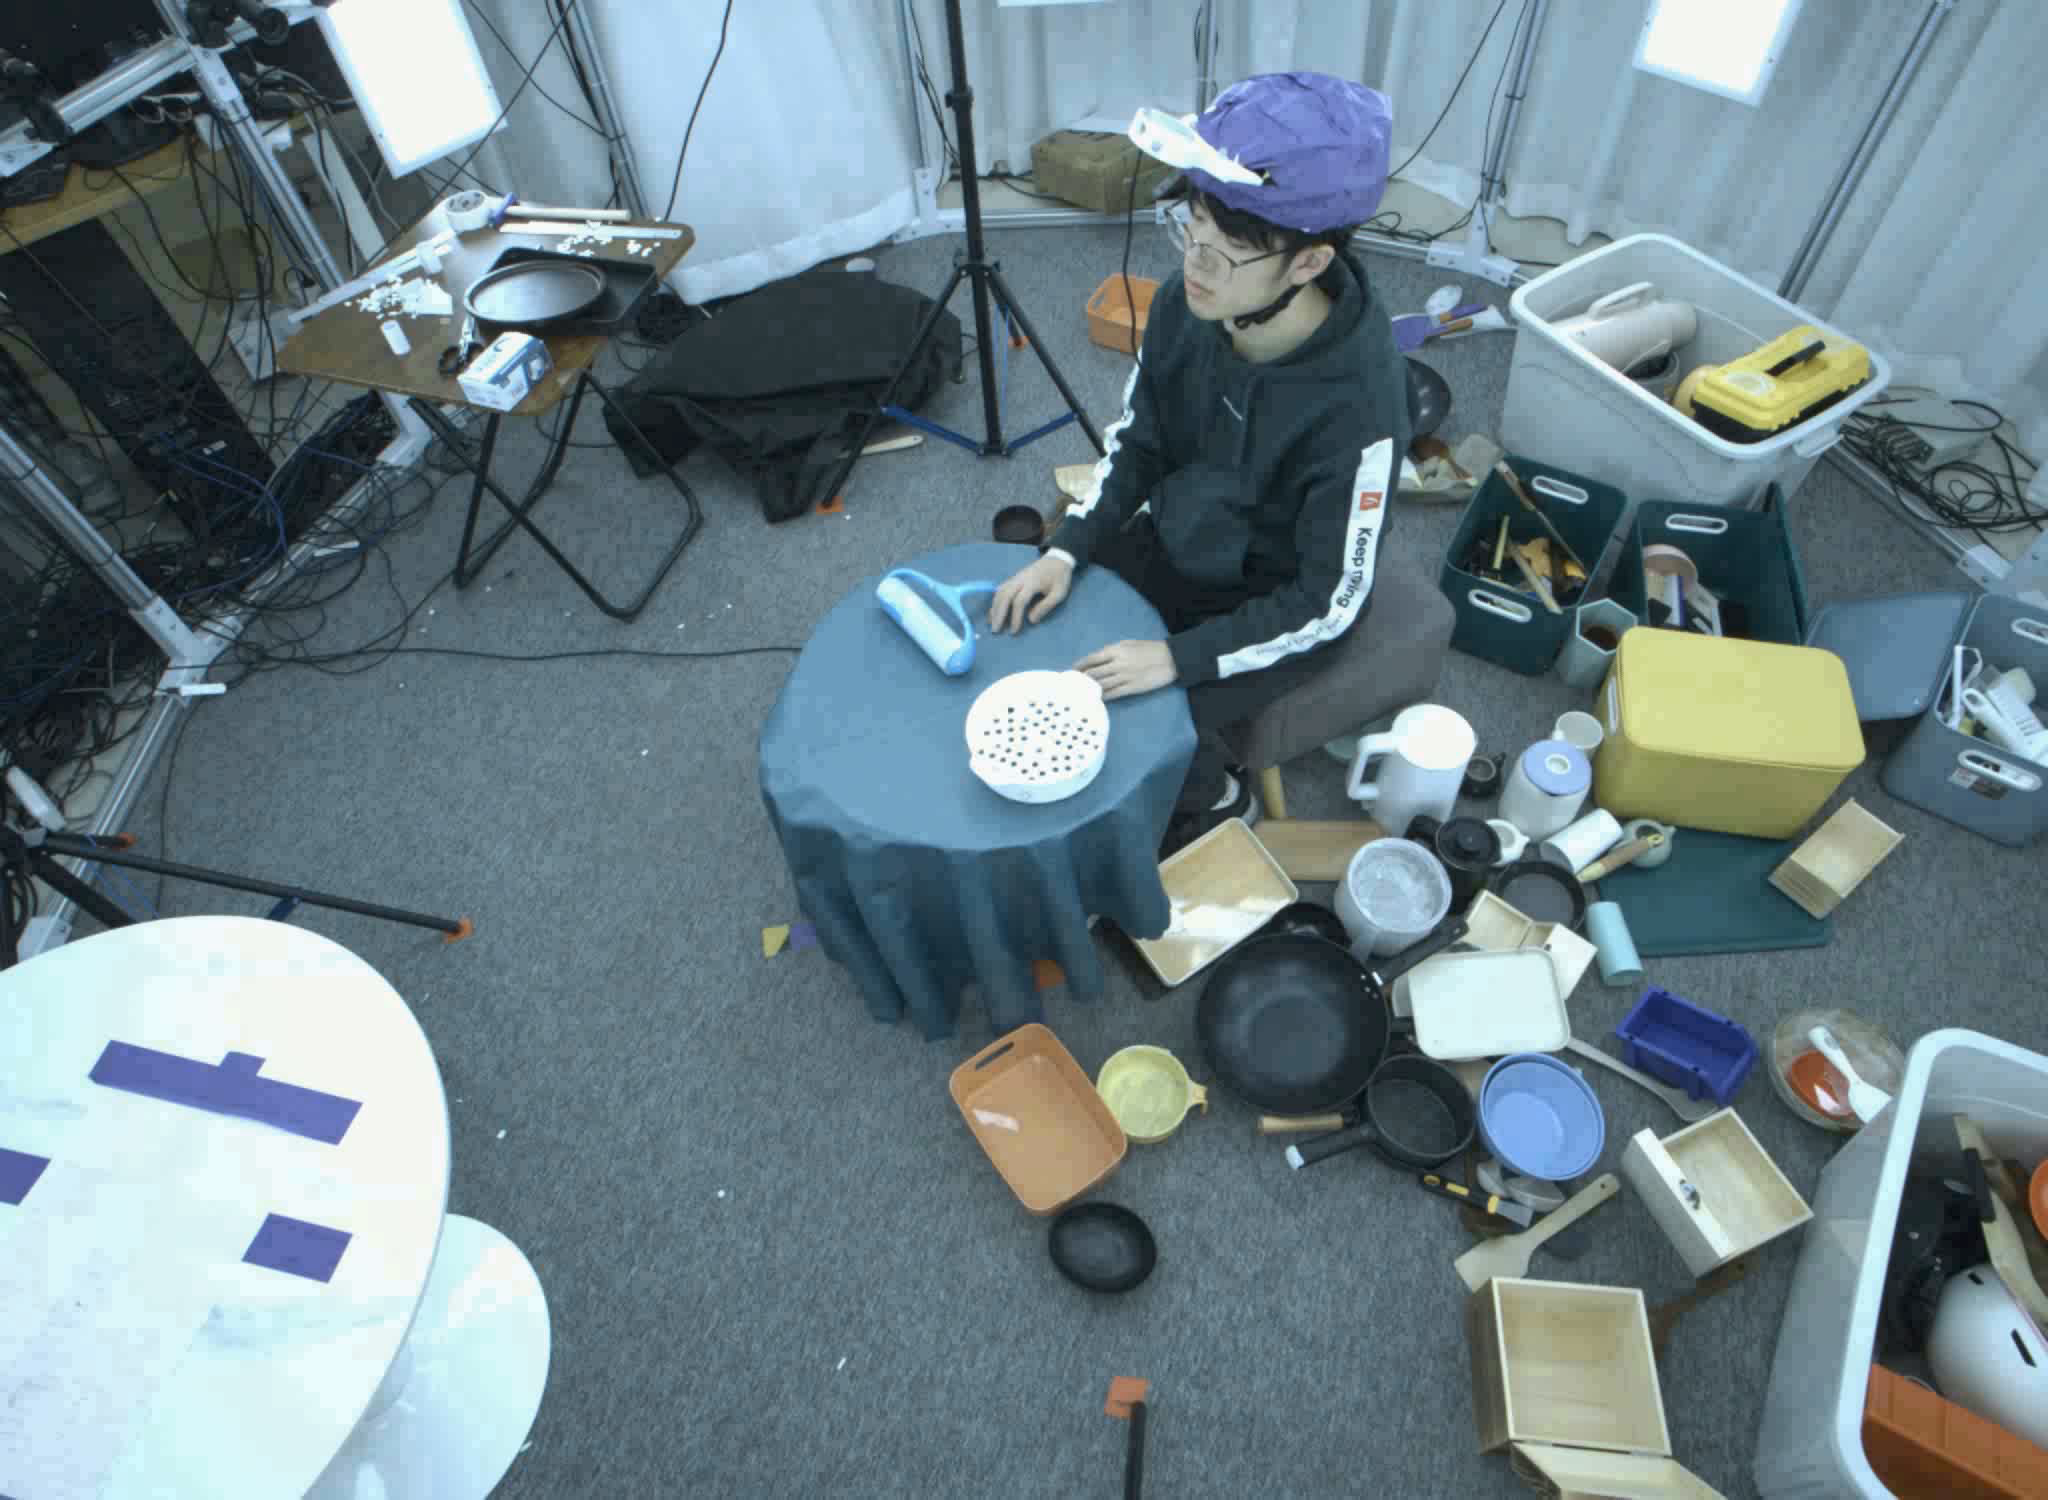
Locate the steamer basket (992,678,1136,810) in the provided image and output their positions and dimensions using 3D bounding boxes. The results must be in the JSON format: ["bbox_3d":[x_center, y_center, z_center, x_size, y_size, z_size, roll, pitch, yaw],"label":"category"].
[{"bbox_3d":[0.057,-0.007,1.744,0.198,0.070,0.232,37,63,24],"label":"steamer basket"}]

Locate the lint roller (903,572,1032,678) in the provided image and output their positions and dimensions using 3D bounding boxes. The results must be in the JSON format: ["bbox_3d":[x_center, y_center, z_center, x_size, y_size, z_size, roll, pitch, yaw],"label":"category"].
[{"bbox_3d":[-0.066,-0.221,1.909,0.181,0.069,0.224,-36,58,-20],"label":"lint roller"}]
